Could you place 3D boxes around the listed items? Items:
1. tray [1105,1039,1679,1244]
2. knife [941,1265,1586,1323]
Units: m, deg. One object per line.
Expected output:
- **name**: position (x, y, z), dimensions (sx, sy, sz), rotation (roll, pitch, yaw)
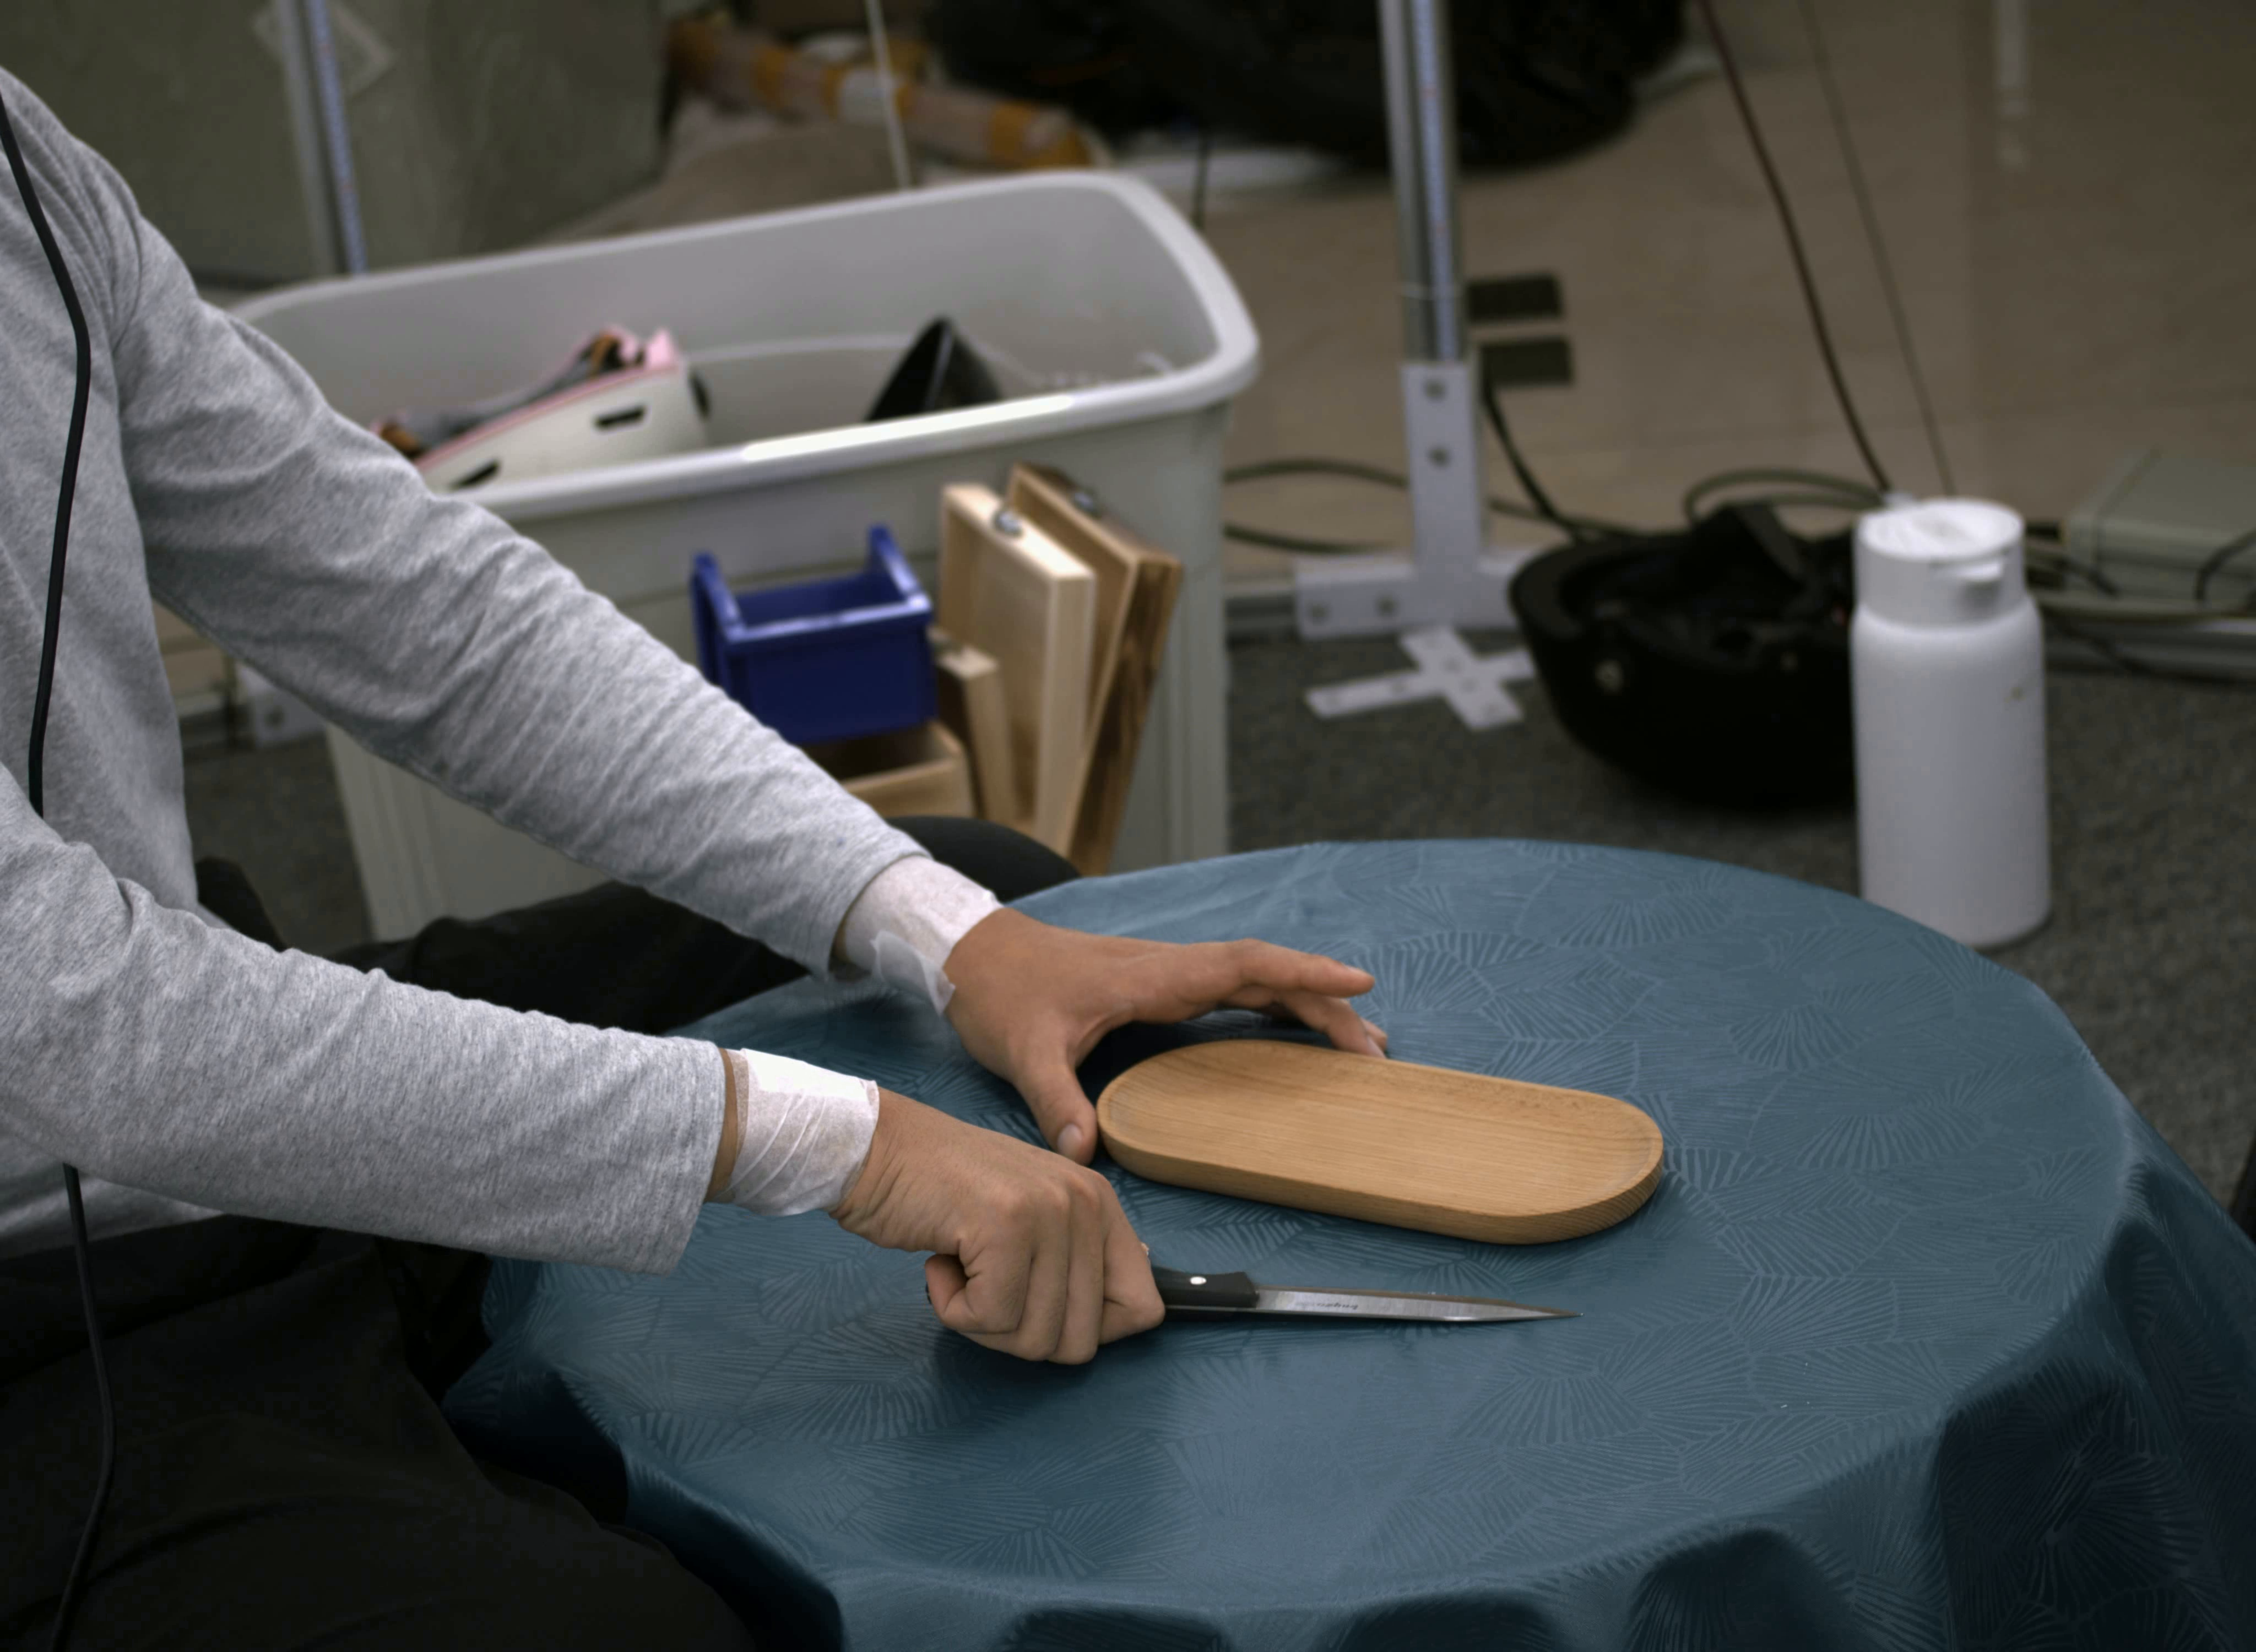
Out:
- **tray**: position (0.098, 0.119, 2.152), dimensions (0.230, 0.020, 0.100), rotation (9, 31, 27)
- **knife**: position (0.047, 0.172, 2.056), dimensions (0.237, 0.016, 0.024), rotation (1, 20, 10)
